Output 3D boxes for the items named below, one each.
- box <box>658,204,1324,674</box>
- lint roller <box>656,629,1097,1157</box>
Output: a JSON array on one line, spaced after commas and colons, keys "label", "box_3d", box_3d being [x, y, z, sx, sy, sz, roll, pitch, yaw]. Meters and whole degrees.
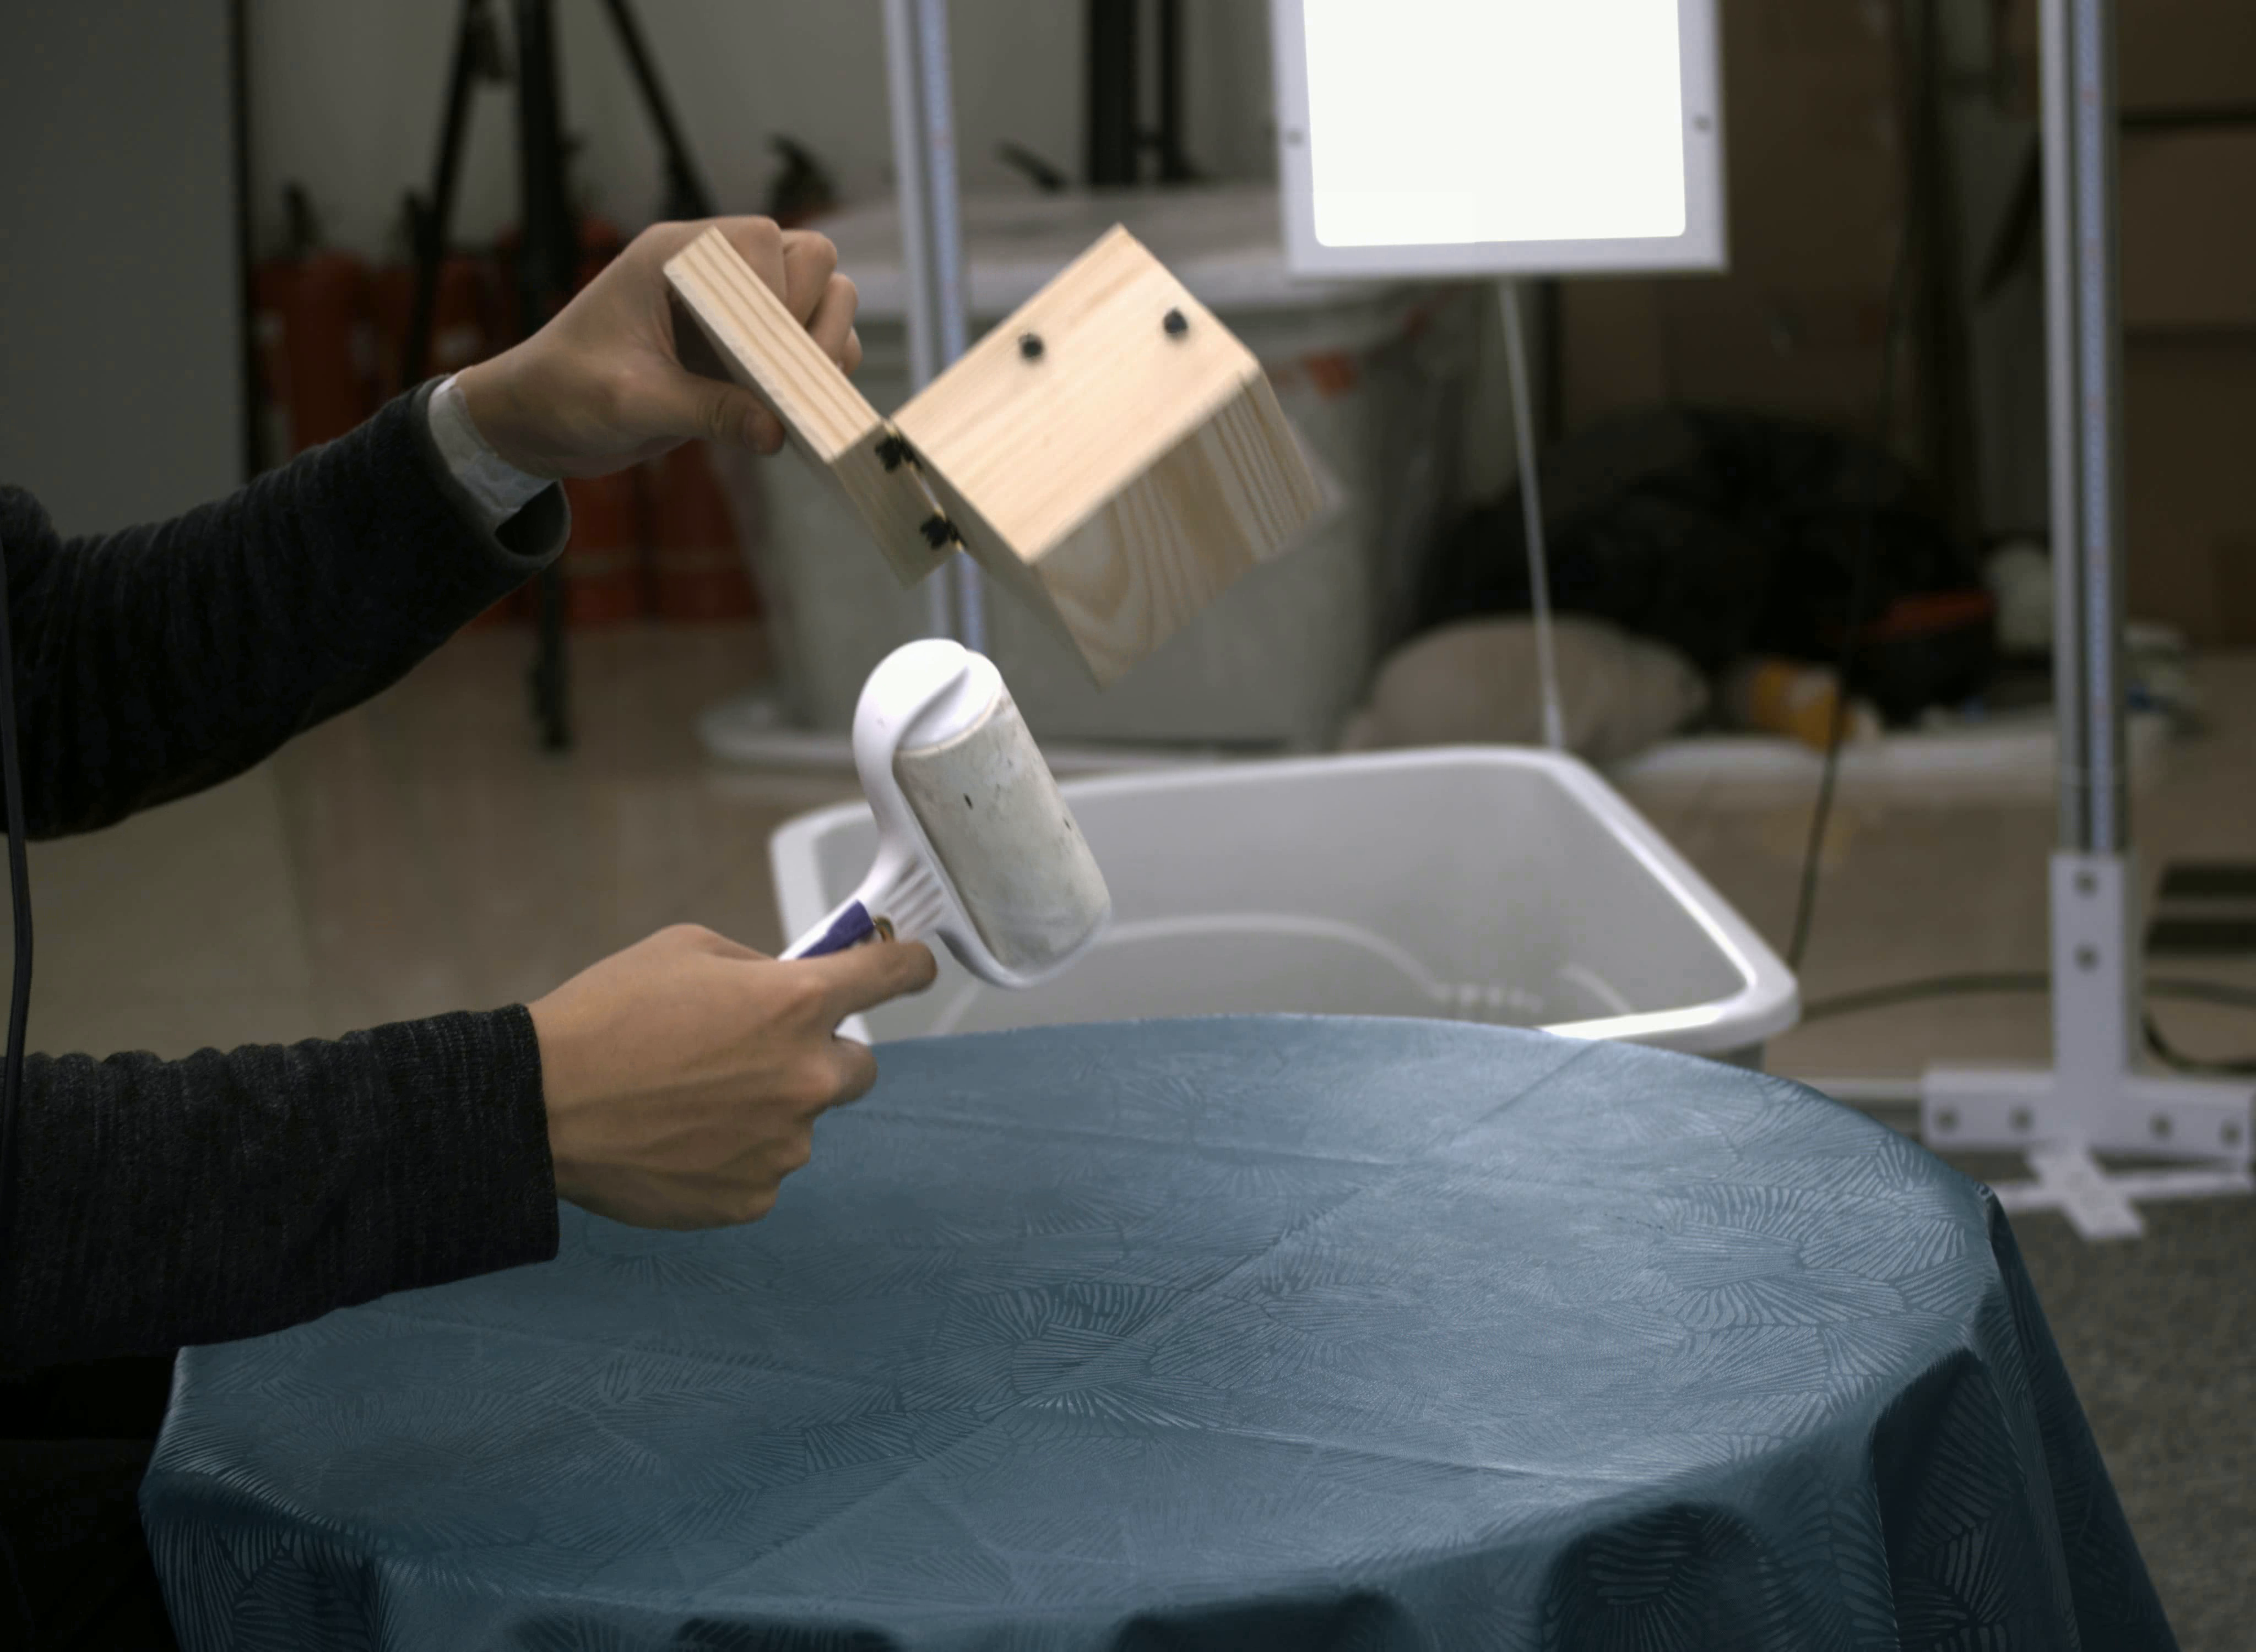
[{"label": "box", "box_3d": [-0.045, -0.155, 1.858, 0.133, 0.102, 0.186, -42, 61, -5]}, {"label": "lint roller", "box_3d": [-0.082, 0.036, 1.730, 0.051, 0.132, 0.178, 15, 55, 35]}]
